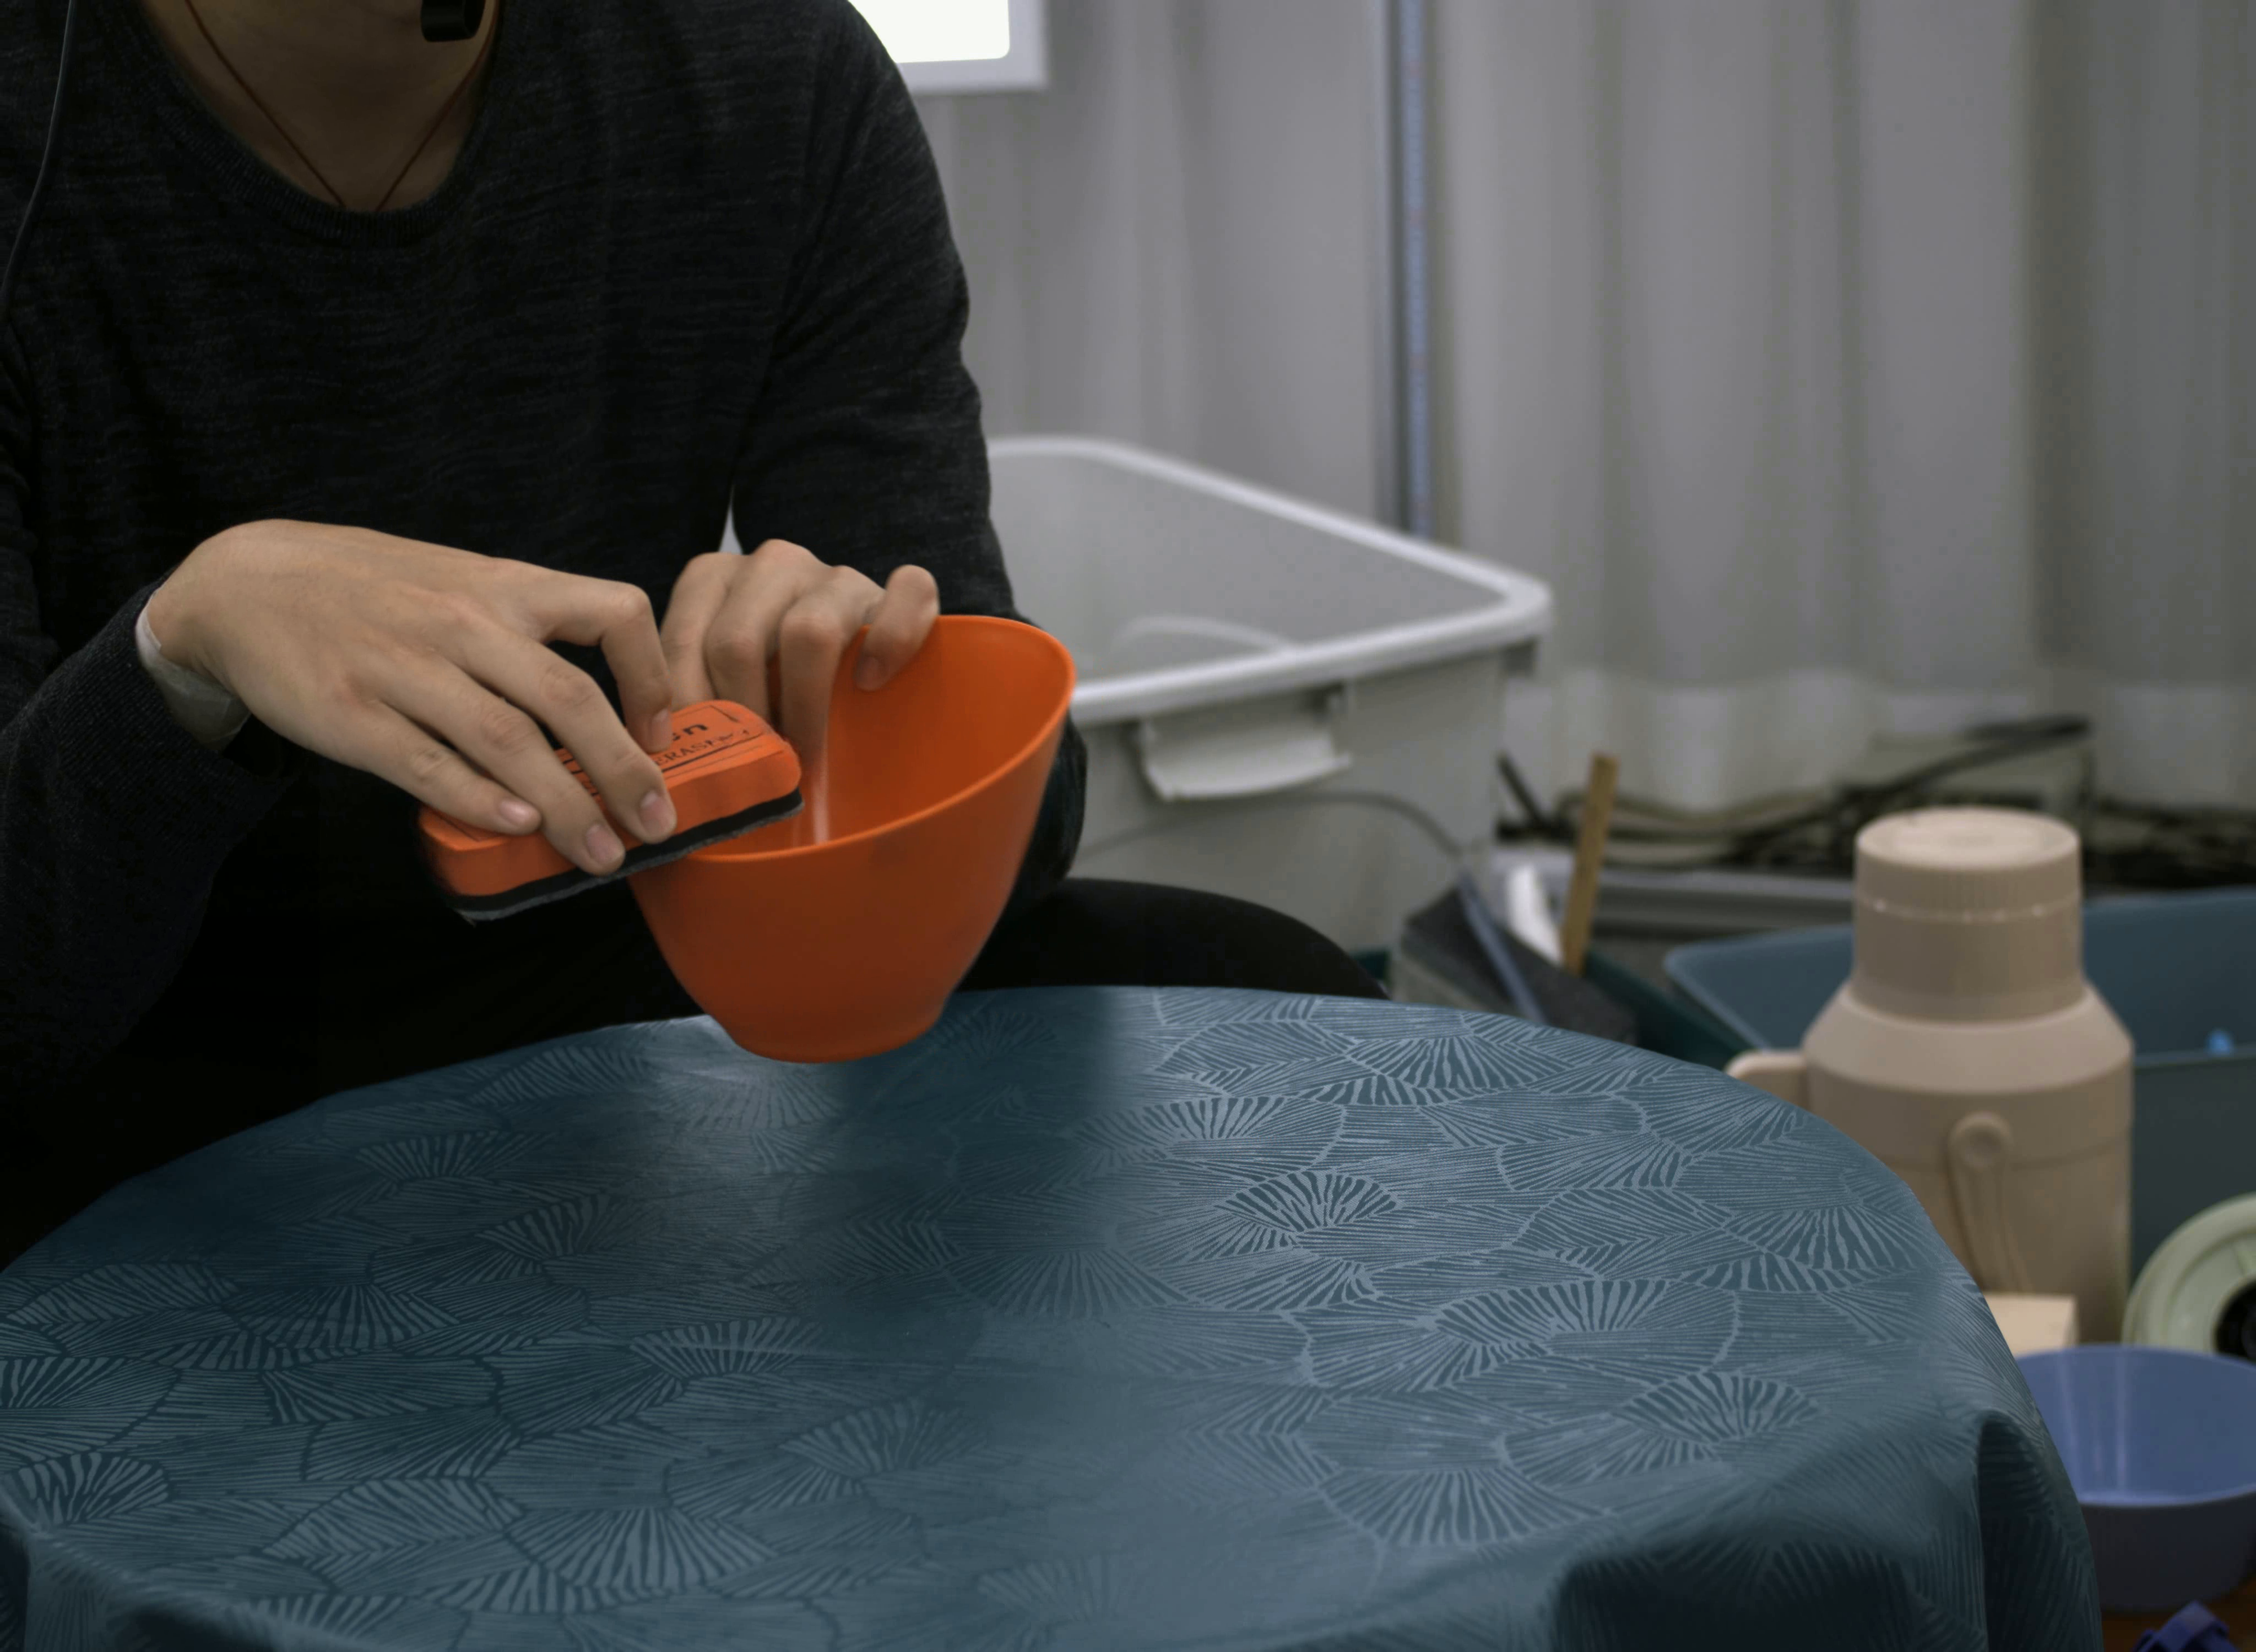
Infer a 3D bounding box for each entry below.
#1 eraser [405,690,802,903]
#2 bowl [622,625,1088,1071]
[{"bbox_3d":[-0.153,-0.009,1.598,0.108,0.023,0.059,-19,25,-25],"label":"eraser"},{"bbox_3d":[-0.081,0.011,1.645,0.147,0.104,0.149,-4,23,1],"label":"bowl"}]
